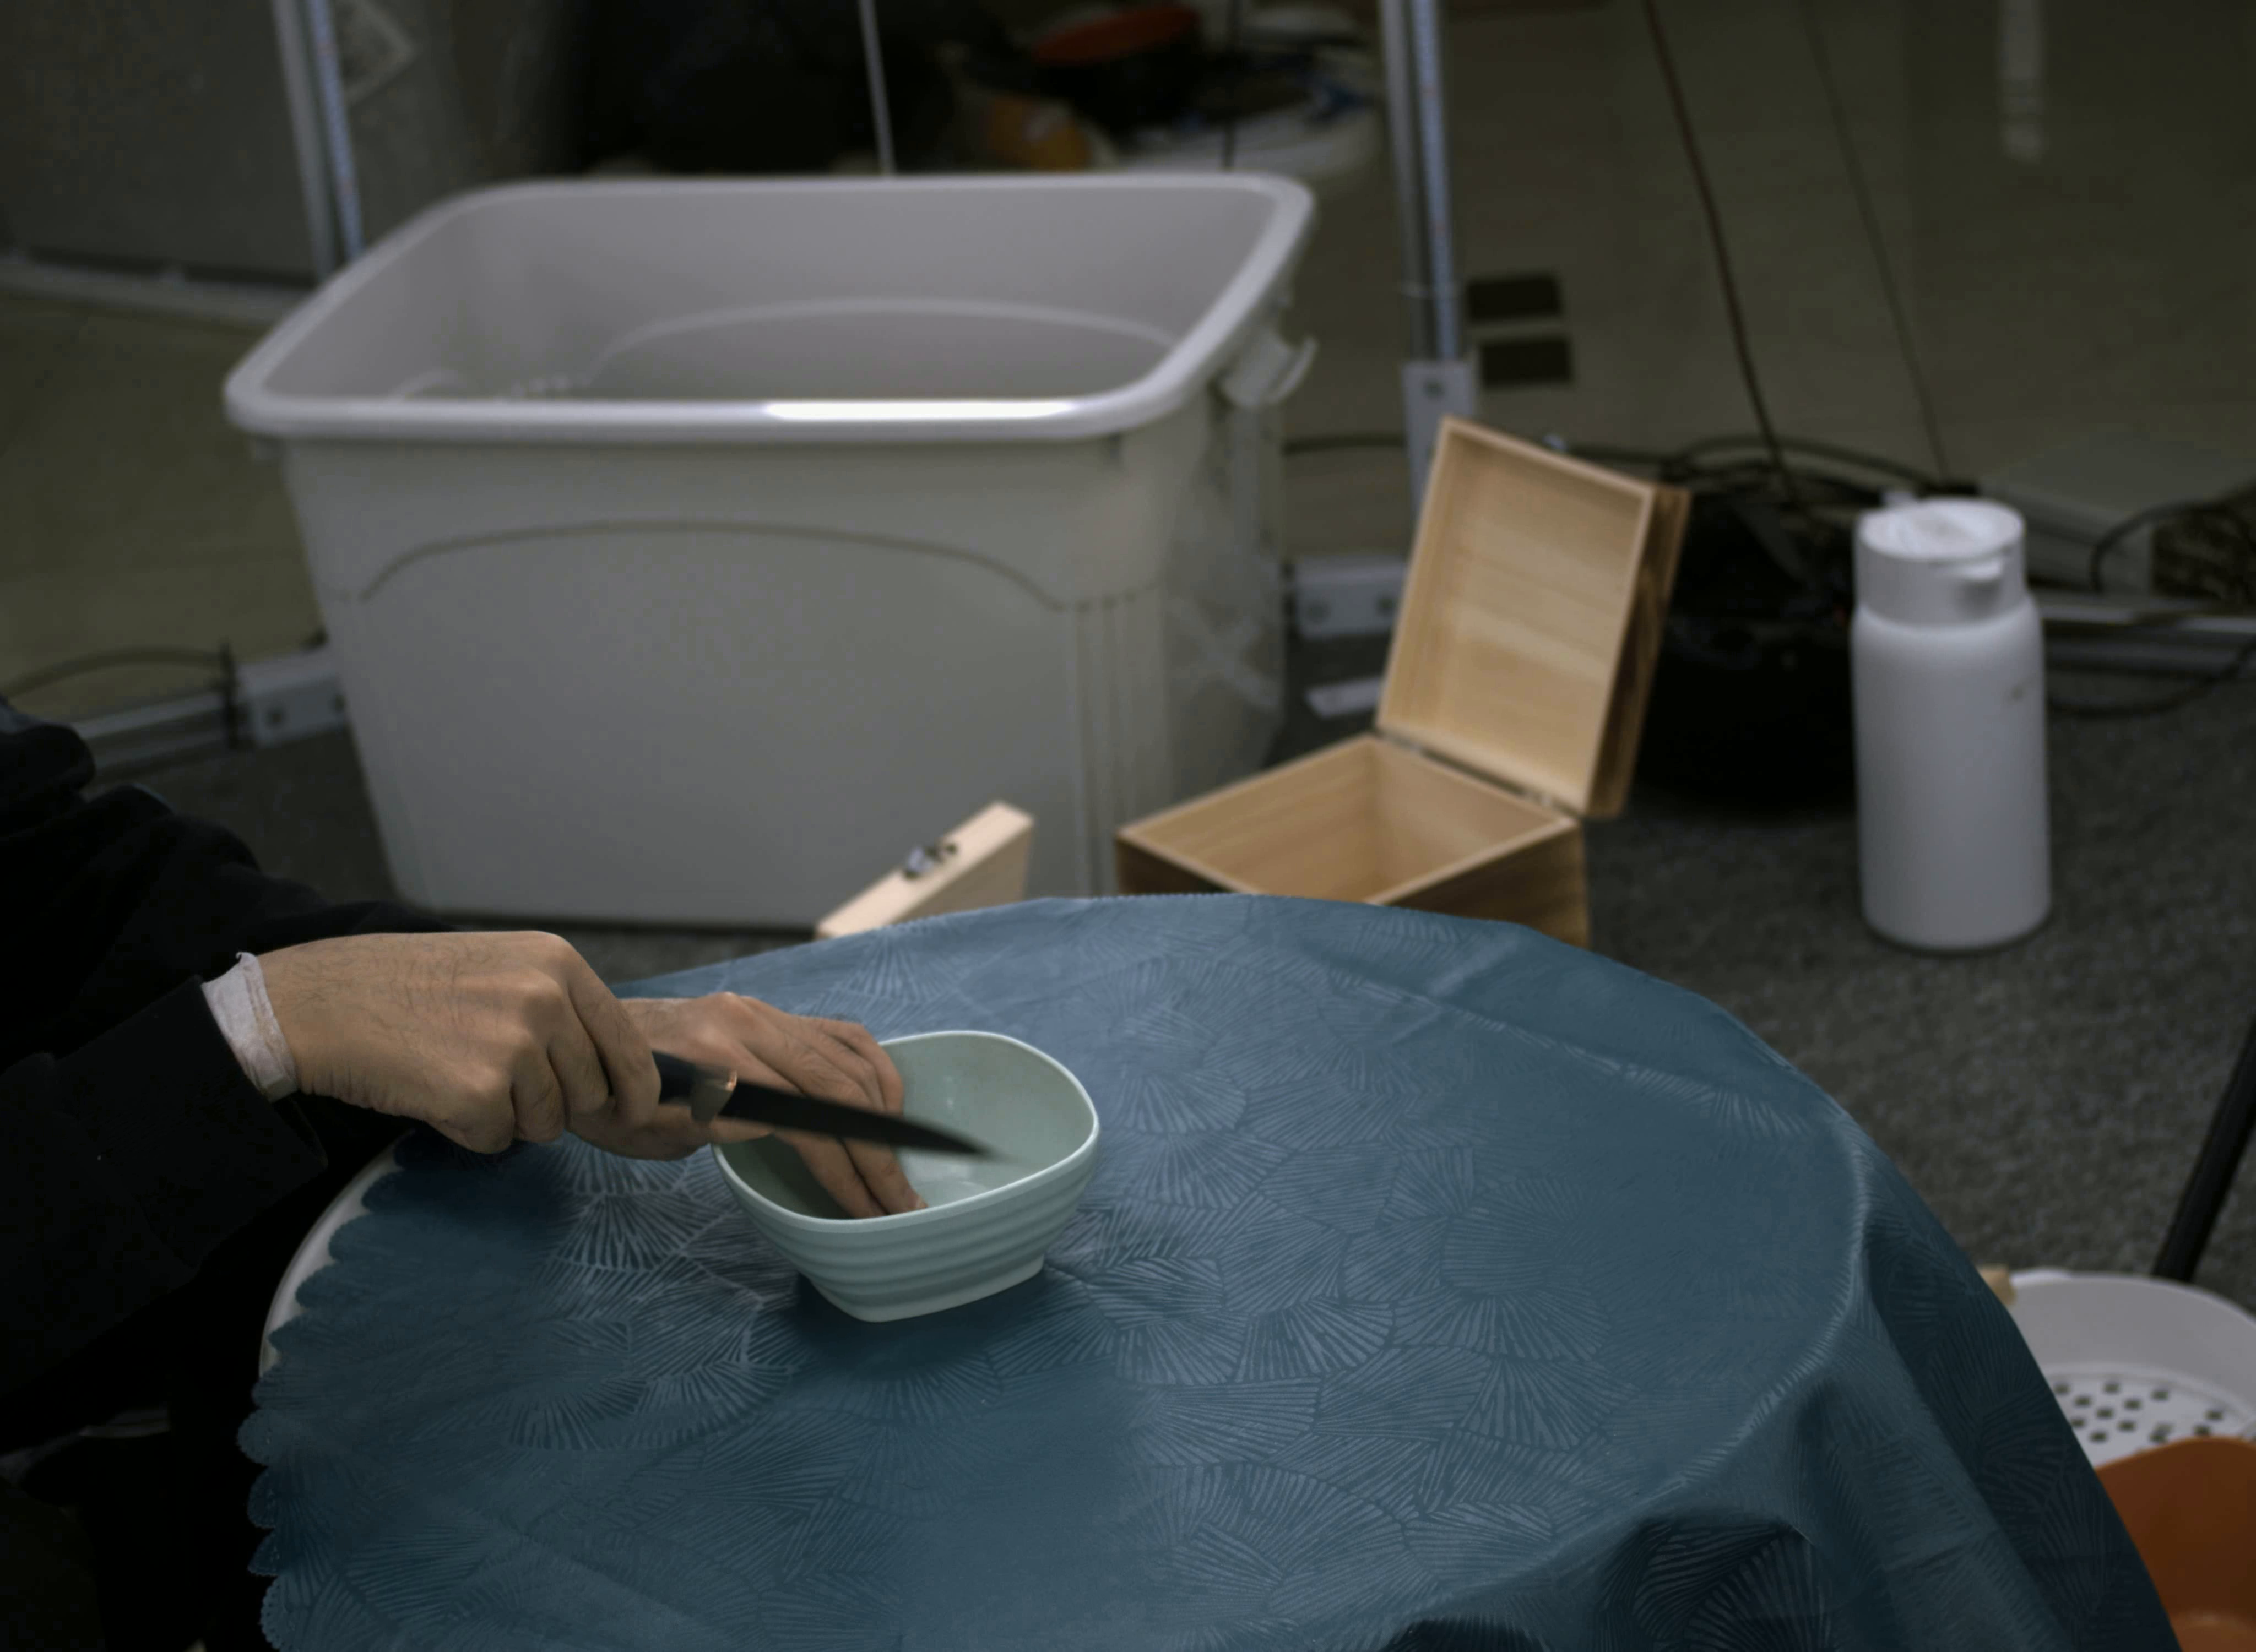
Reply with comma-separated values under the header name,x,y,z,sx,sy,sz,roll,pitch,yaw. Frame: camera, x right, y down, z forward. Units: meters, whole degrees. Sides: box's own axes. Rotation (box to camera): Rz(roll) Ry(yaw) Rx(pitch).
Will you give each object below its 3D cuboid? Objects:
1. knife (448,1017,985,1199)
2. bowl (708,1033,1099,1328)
name,x,y,z,sx,sy,sz,roll,pitch,yaw
knife,-0.144,0.102,2.035,0.226,0.026,0.017,17,37,-29
bowl,-0.081,0.137,2.106,0.151,0.059,0.149,-5,27,3
